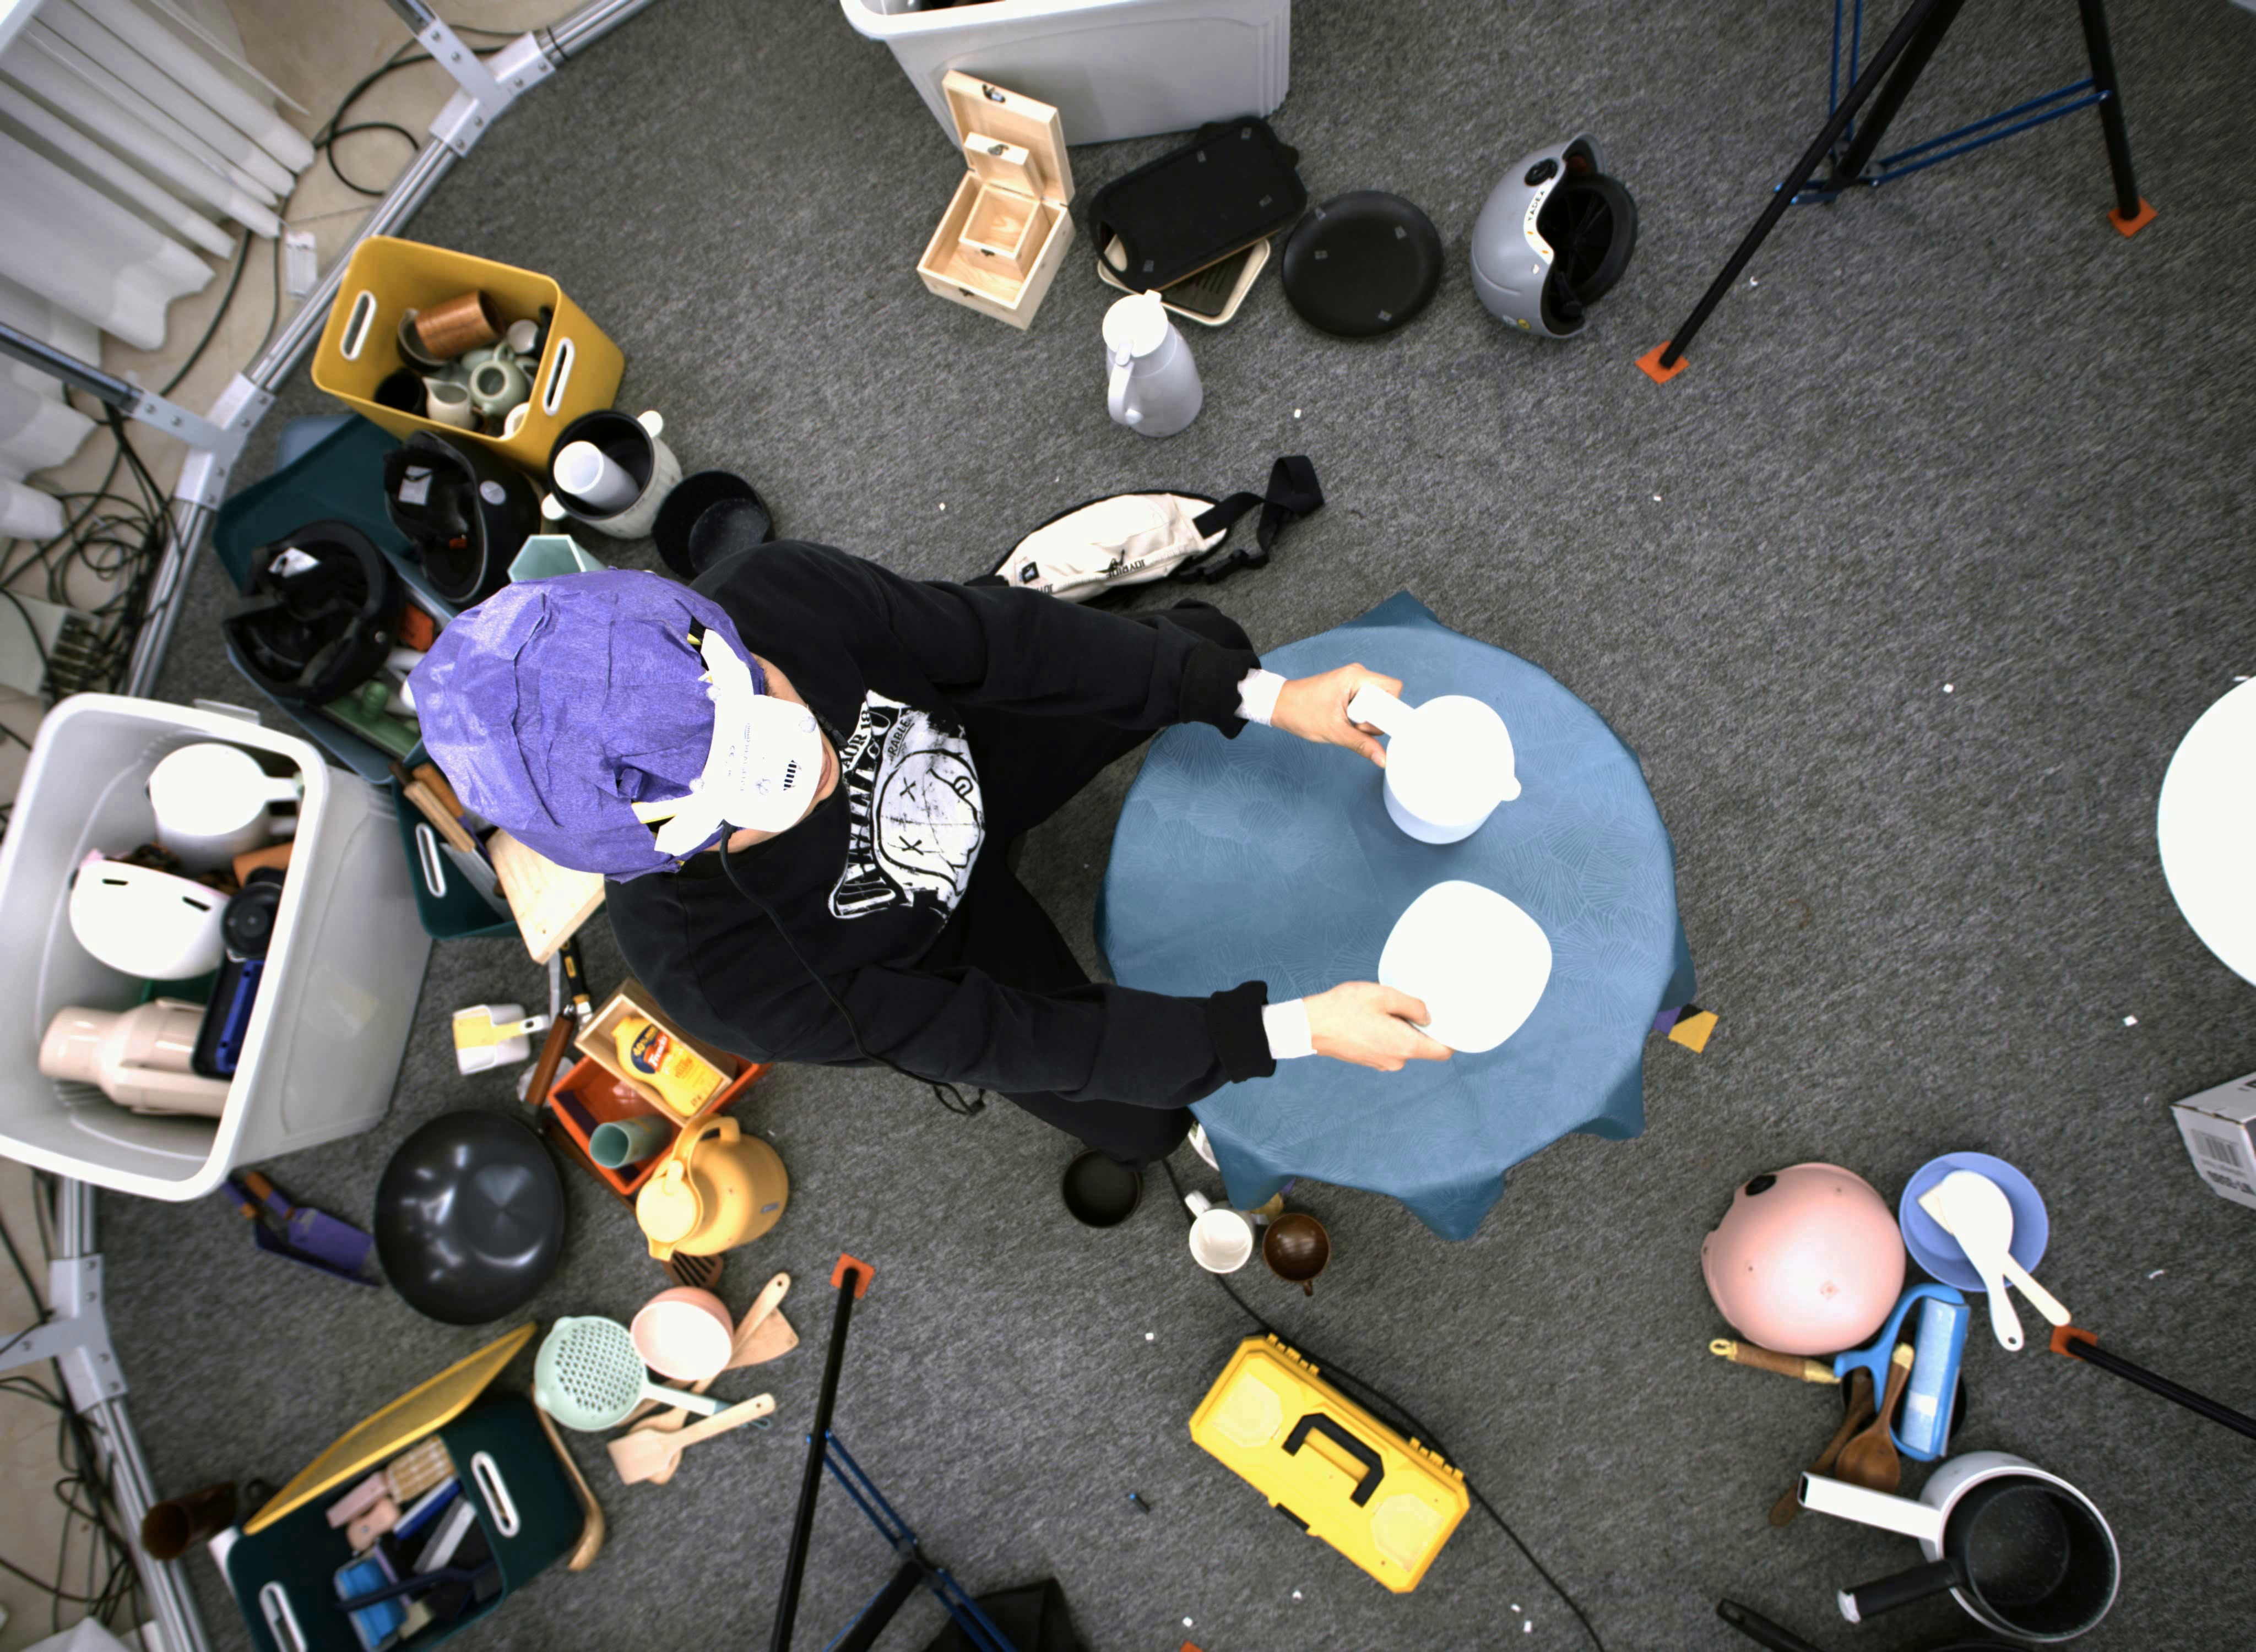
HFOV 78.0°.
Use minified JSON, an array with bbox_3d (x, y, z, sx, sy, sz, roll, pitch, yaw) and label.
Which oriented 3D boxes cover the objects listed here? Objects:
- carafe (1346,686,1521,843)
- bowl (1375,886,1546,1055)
[{"bbox_3d":[0.290,-0.061,1.328,0.172,0.268,0.124,33,93,11],"label":"carafe"},{"bbox_3d":[0.300,0.128,1.251,0.152,0.058,0.151,0,90,12],"label":"bowl"}]
